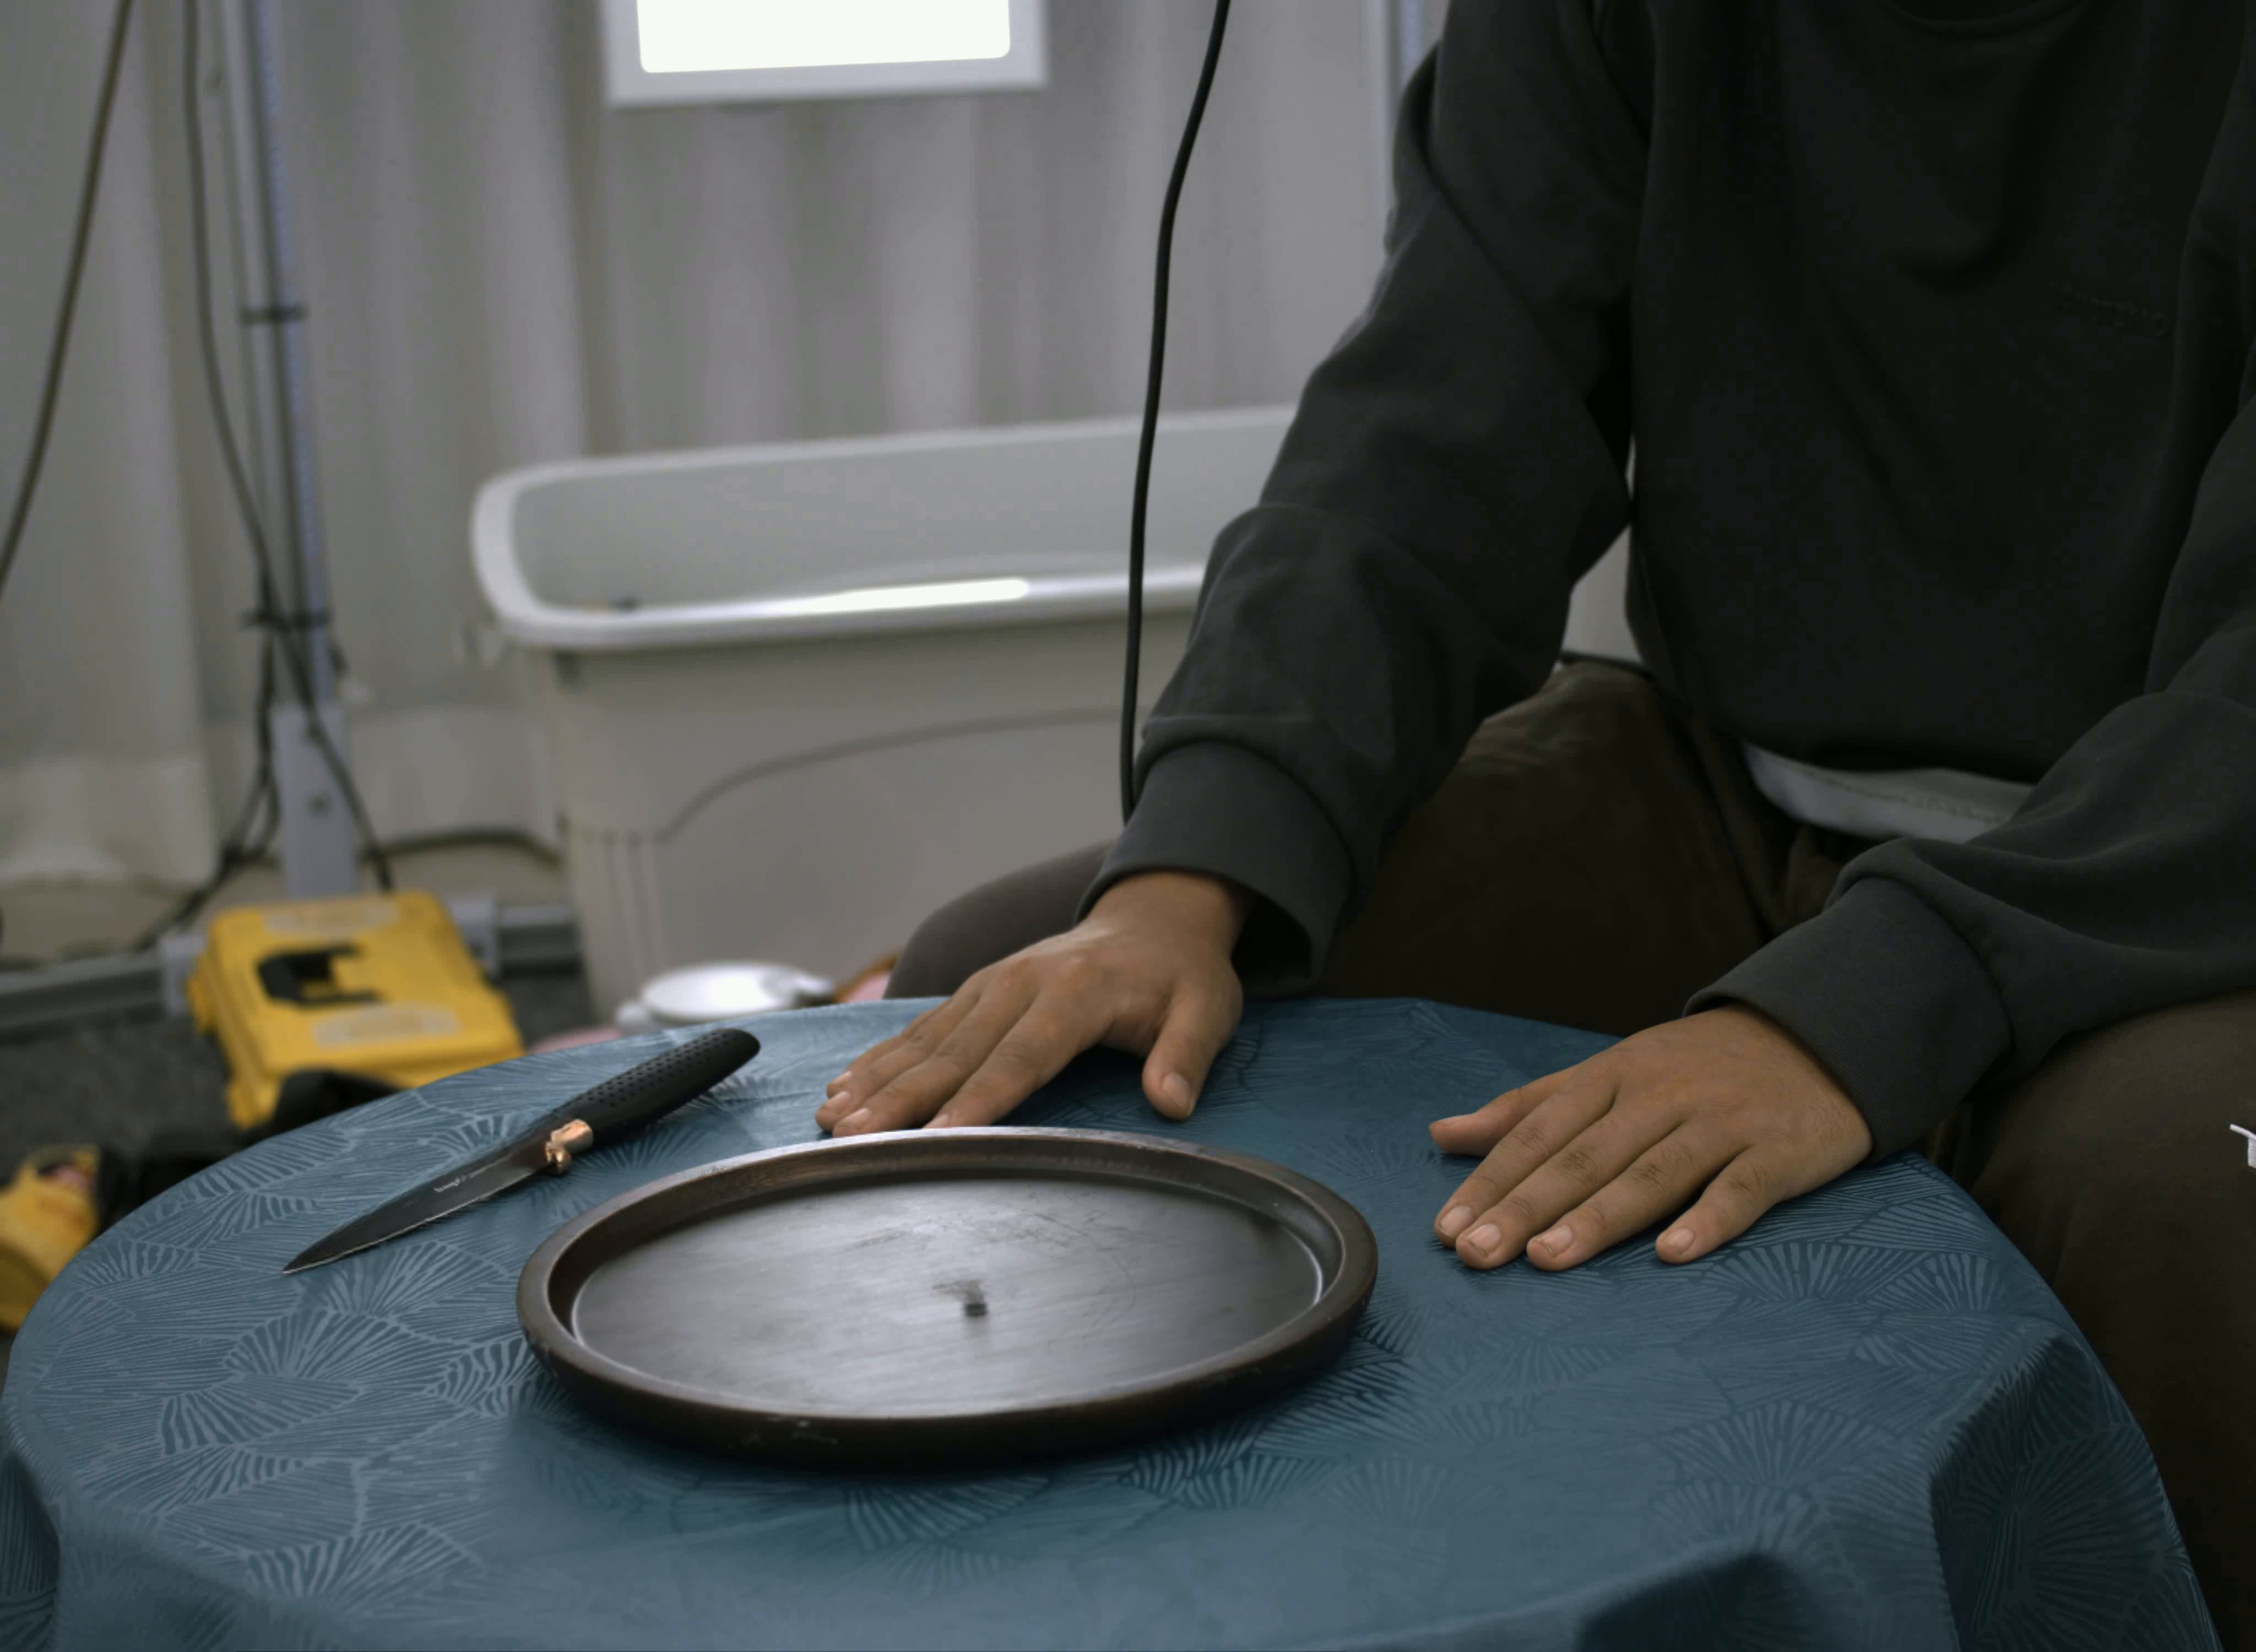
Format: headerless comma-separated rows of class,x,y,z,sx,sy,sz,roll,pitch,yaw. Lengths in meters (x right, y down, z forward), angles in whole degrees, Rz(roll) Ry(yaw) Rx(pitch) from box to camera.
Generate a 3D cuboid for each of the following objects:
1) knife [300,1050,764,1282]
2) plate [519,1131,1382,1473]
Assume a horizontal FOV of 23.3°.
knife,-0.191,0.109,1.754,0.026,0.017,0.225,13,22,33
plate,-0.051,0.137,1.599,0.254,0.029,0.256,-3,13,0
